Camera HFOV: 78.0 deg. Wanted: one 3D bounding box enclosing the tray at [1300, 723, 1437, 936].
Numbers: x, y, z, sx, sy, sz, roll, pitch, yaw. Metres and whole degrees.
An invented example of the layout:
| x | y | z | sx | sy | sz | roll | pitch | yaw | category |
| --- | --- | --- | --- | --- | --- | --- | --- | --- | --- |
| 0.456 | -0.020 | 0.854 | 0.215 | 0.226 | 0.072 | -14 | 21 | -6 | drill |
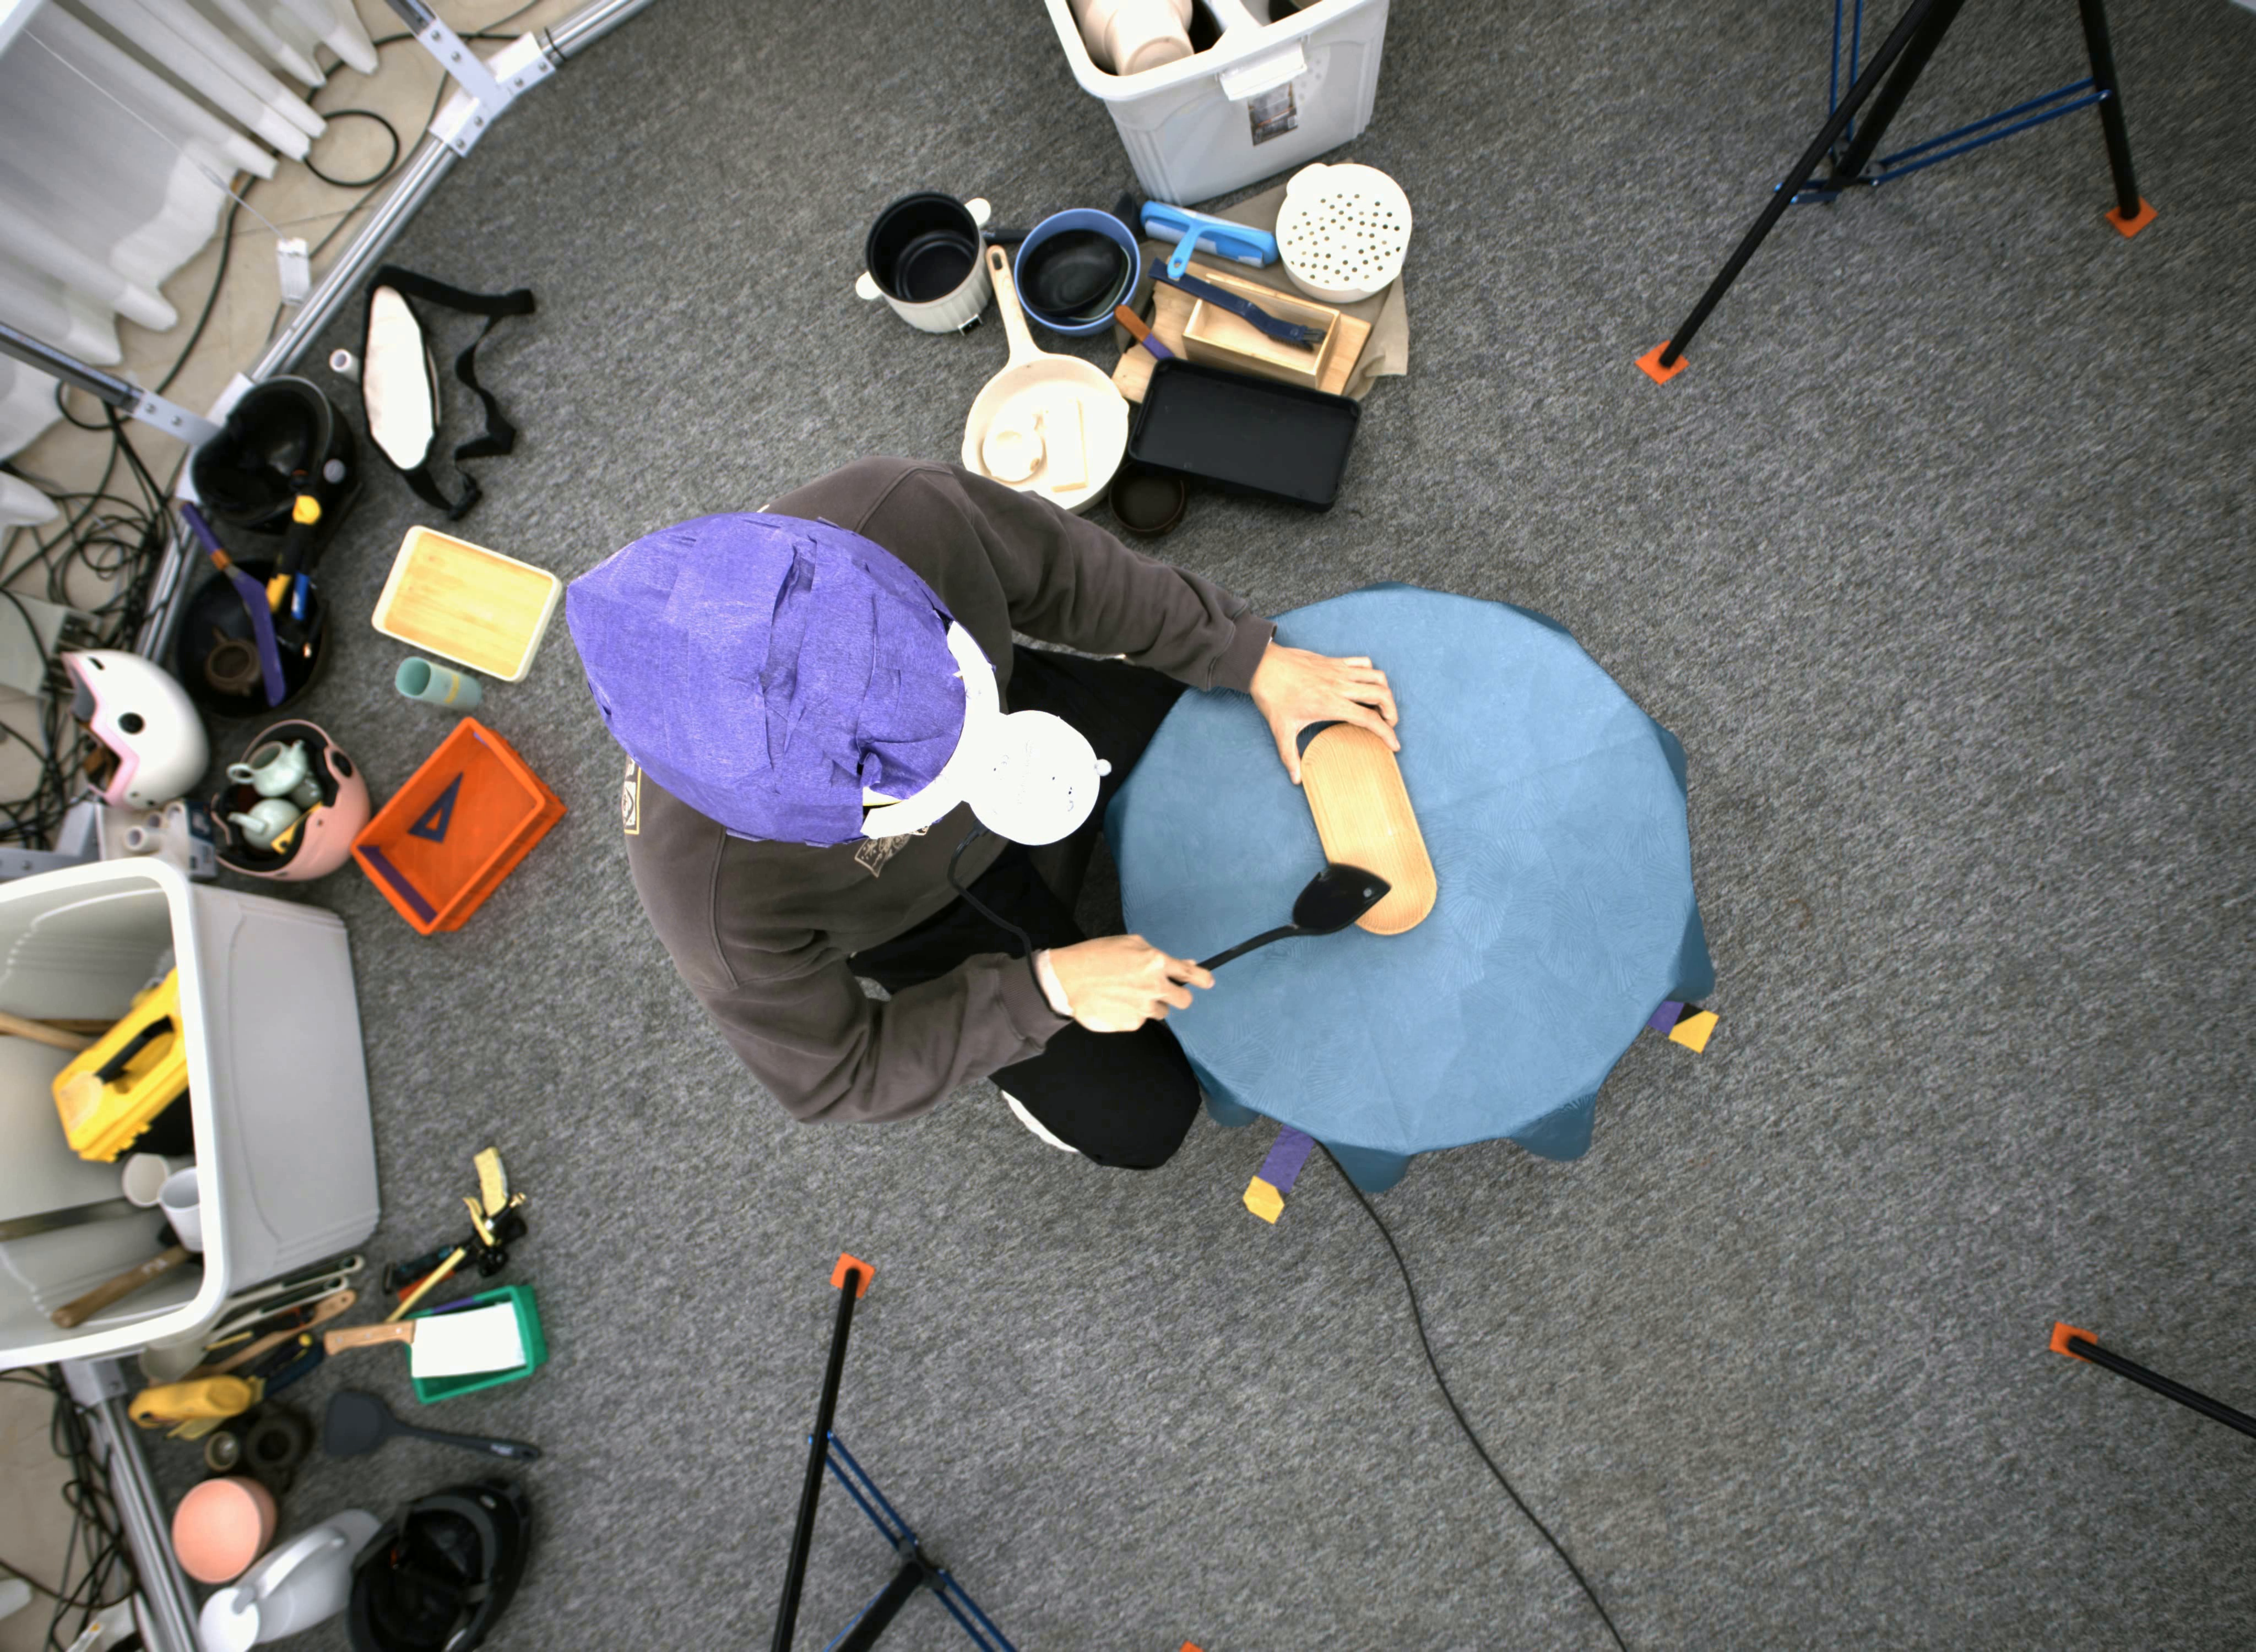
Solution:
| x | y | z | sx | sy | sz | roll | pitch | yaw | category |
| --- | --- | --- | --- | --- | --- | --- | --- | --- | --- |
| 0.253 | 0.002 | 1.456 | 0.102 | 0.020 | 0.230 | -18 | 85 | 10 | tray |

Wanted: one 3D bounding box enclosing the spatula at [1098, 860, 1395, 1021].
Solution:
| x | y | z | sx | sy | sz | roll | pitch | yaw | category |
| --- | --- | --- | --- | --- | --- | --- | --- | --- | --- |
| 0.111 | 0.113 | 1.348 | 0.323 | 0.099 | 0.041 | -21 | 112 | -21 | spatula |
